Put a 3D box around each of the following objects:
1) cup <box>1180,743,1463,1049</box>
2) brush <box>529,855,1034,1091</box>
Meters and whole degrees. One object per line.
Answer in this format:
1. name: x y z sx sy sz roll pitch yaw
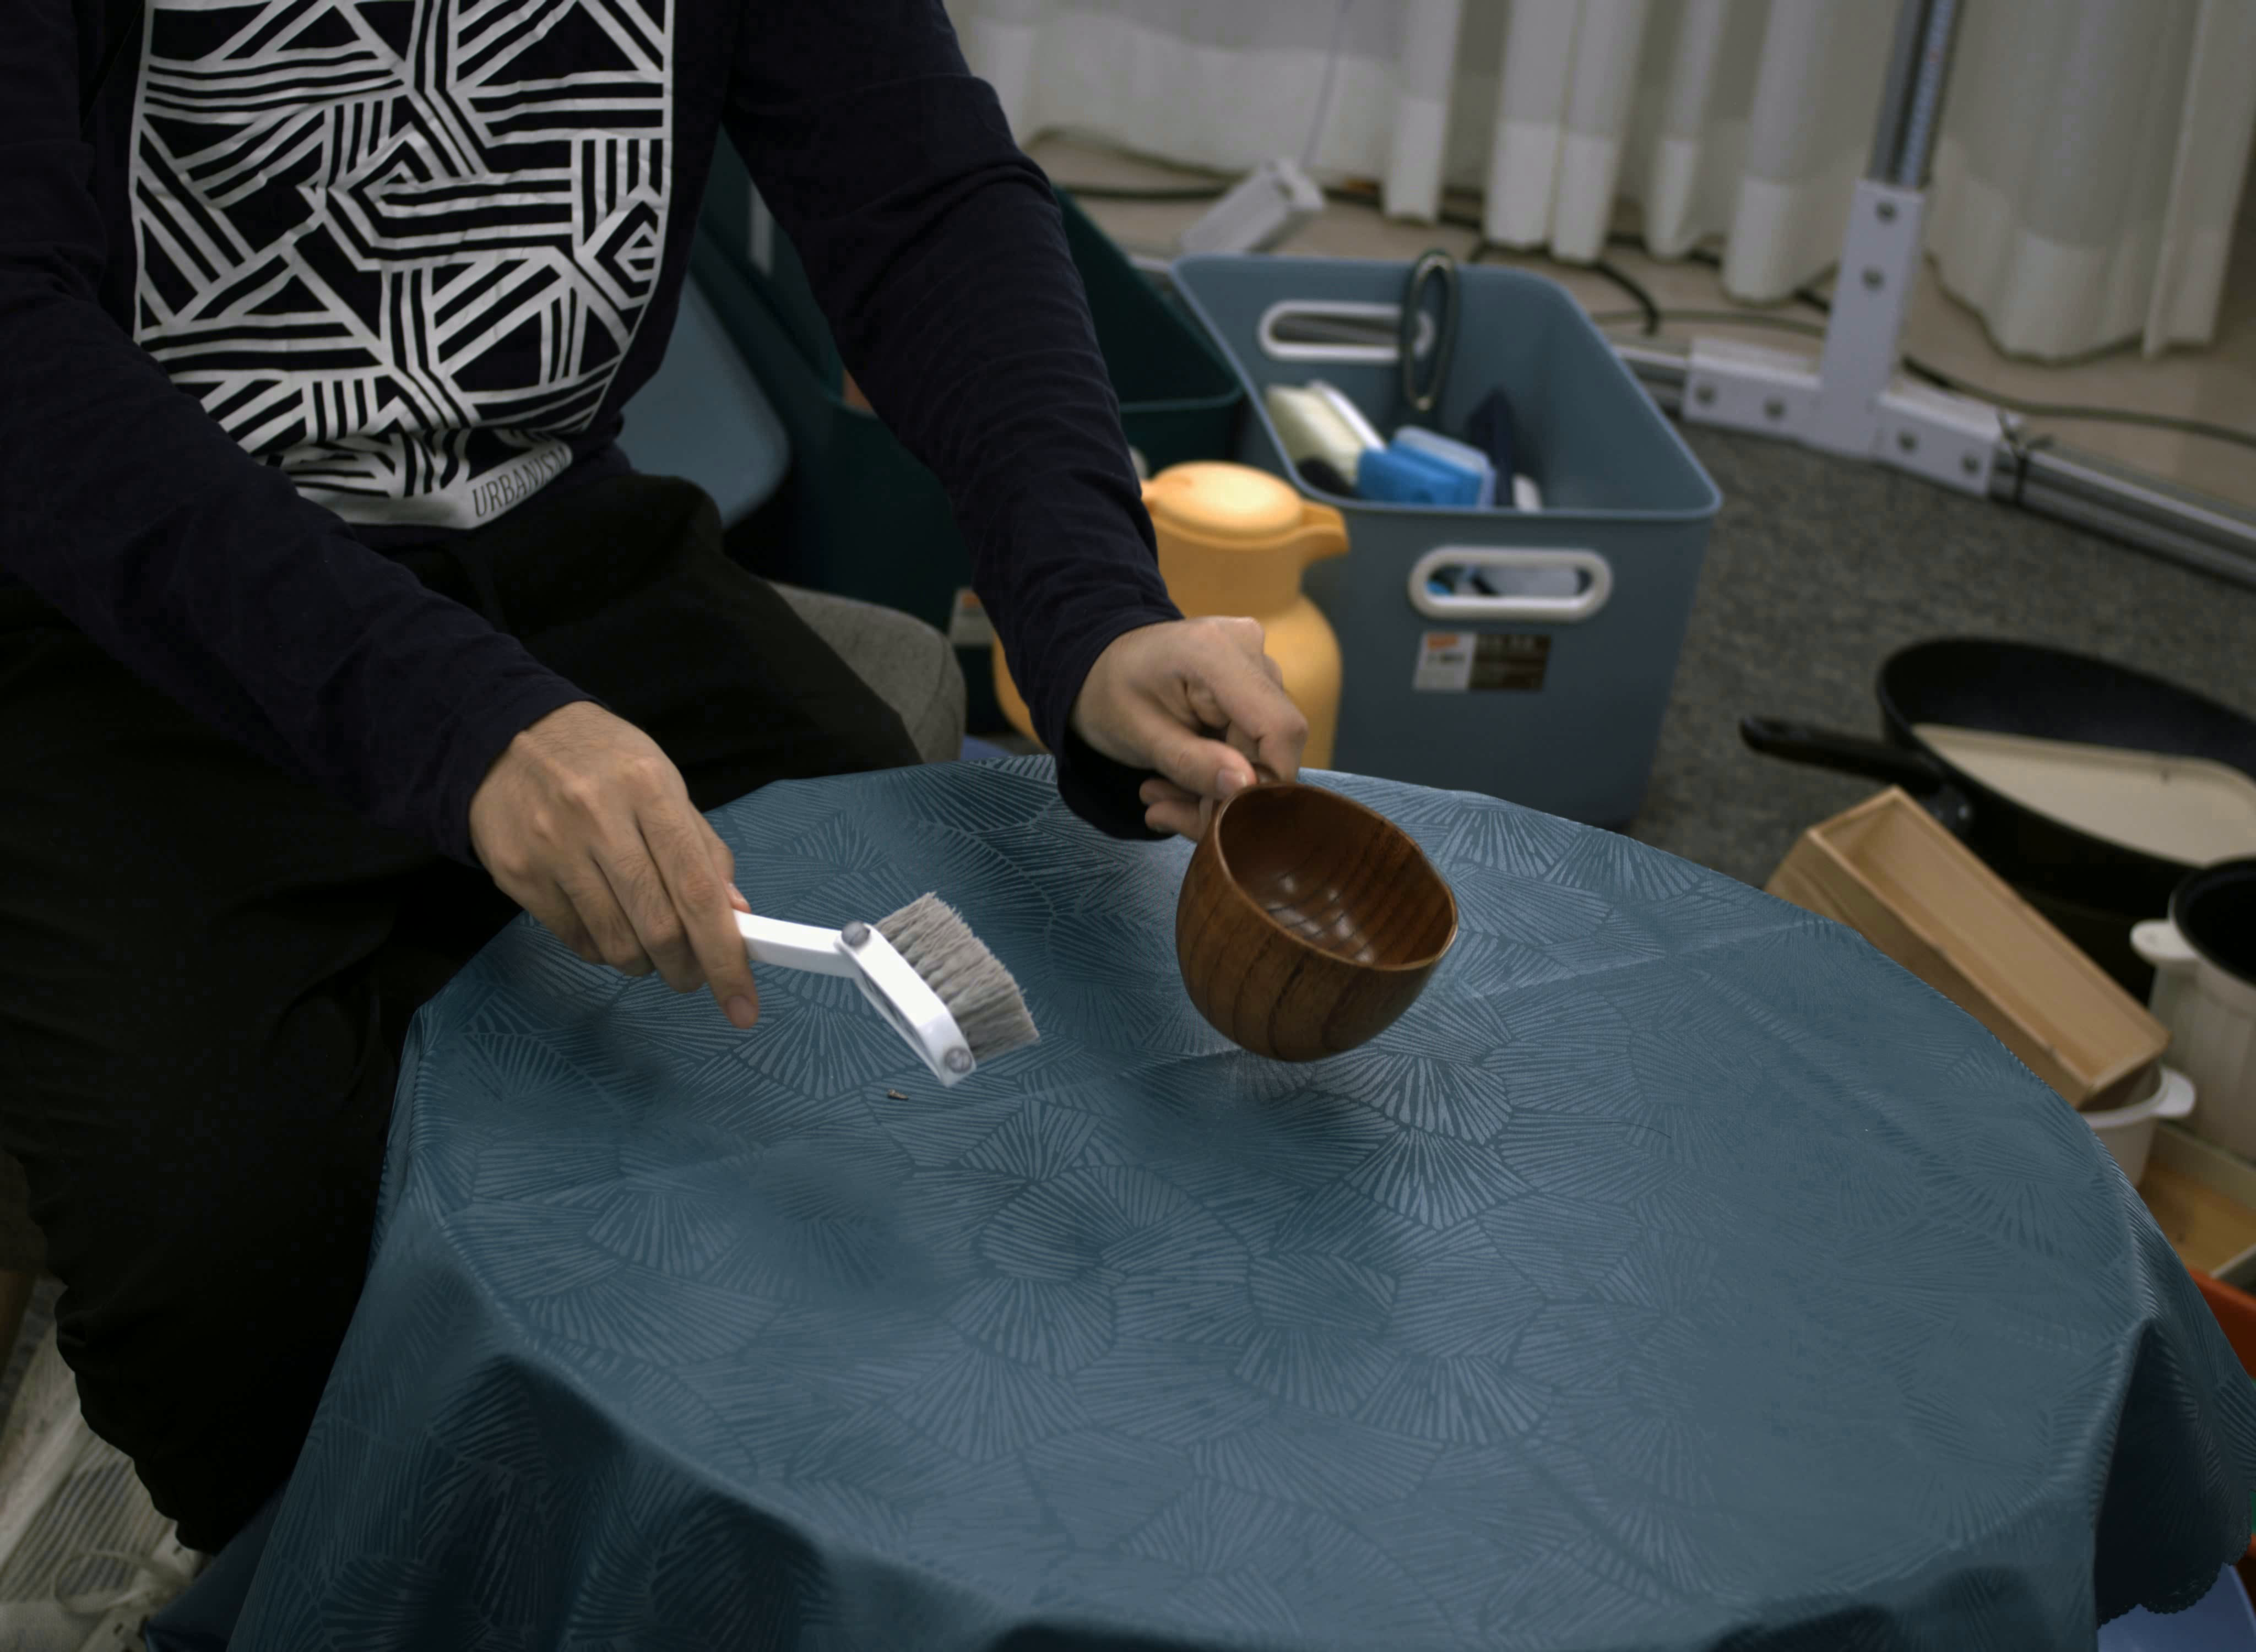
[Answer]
1. cup: 0.057 0.026 1.878 0.095 0.067 0.120 0 46 -34
2. brush: -0.120 0.034 1.822 0.245 0.034 0.050 21 61 46
